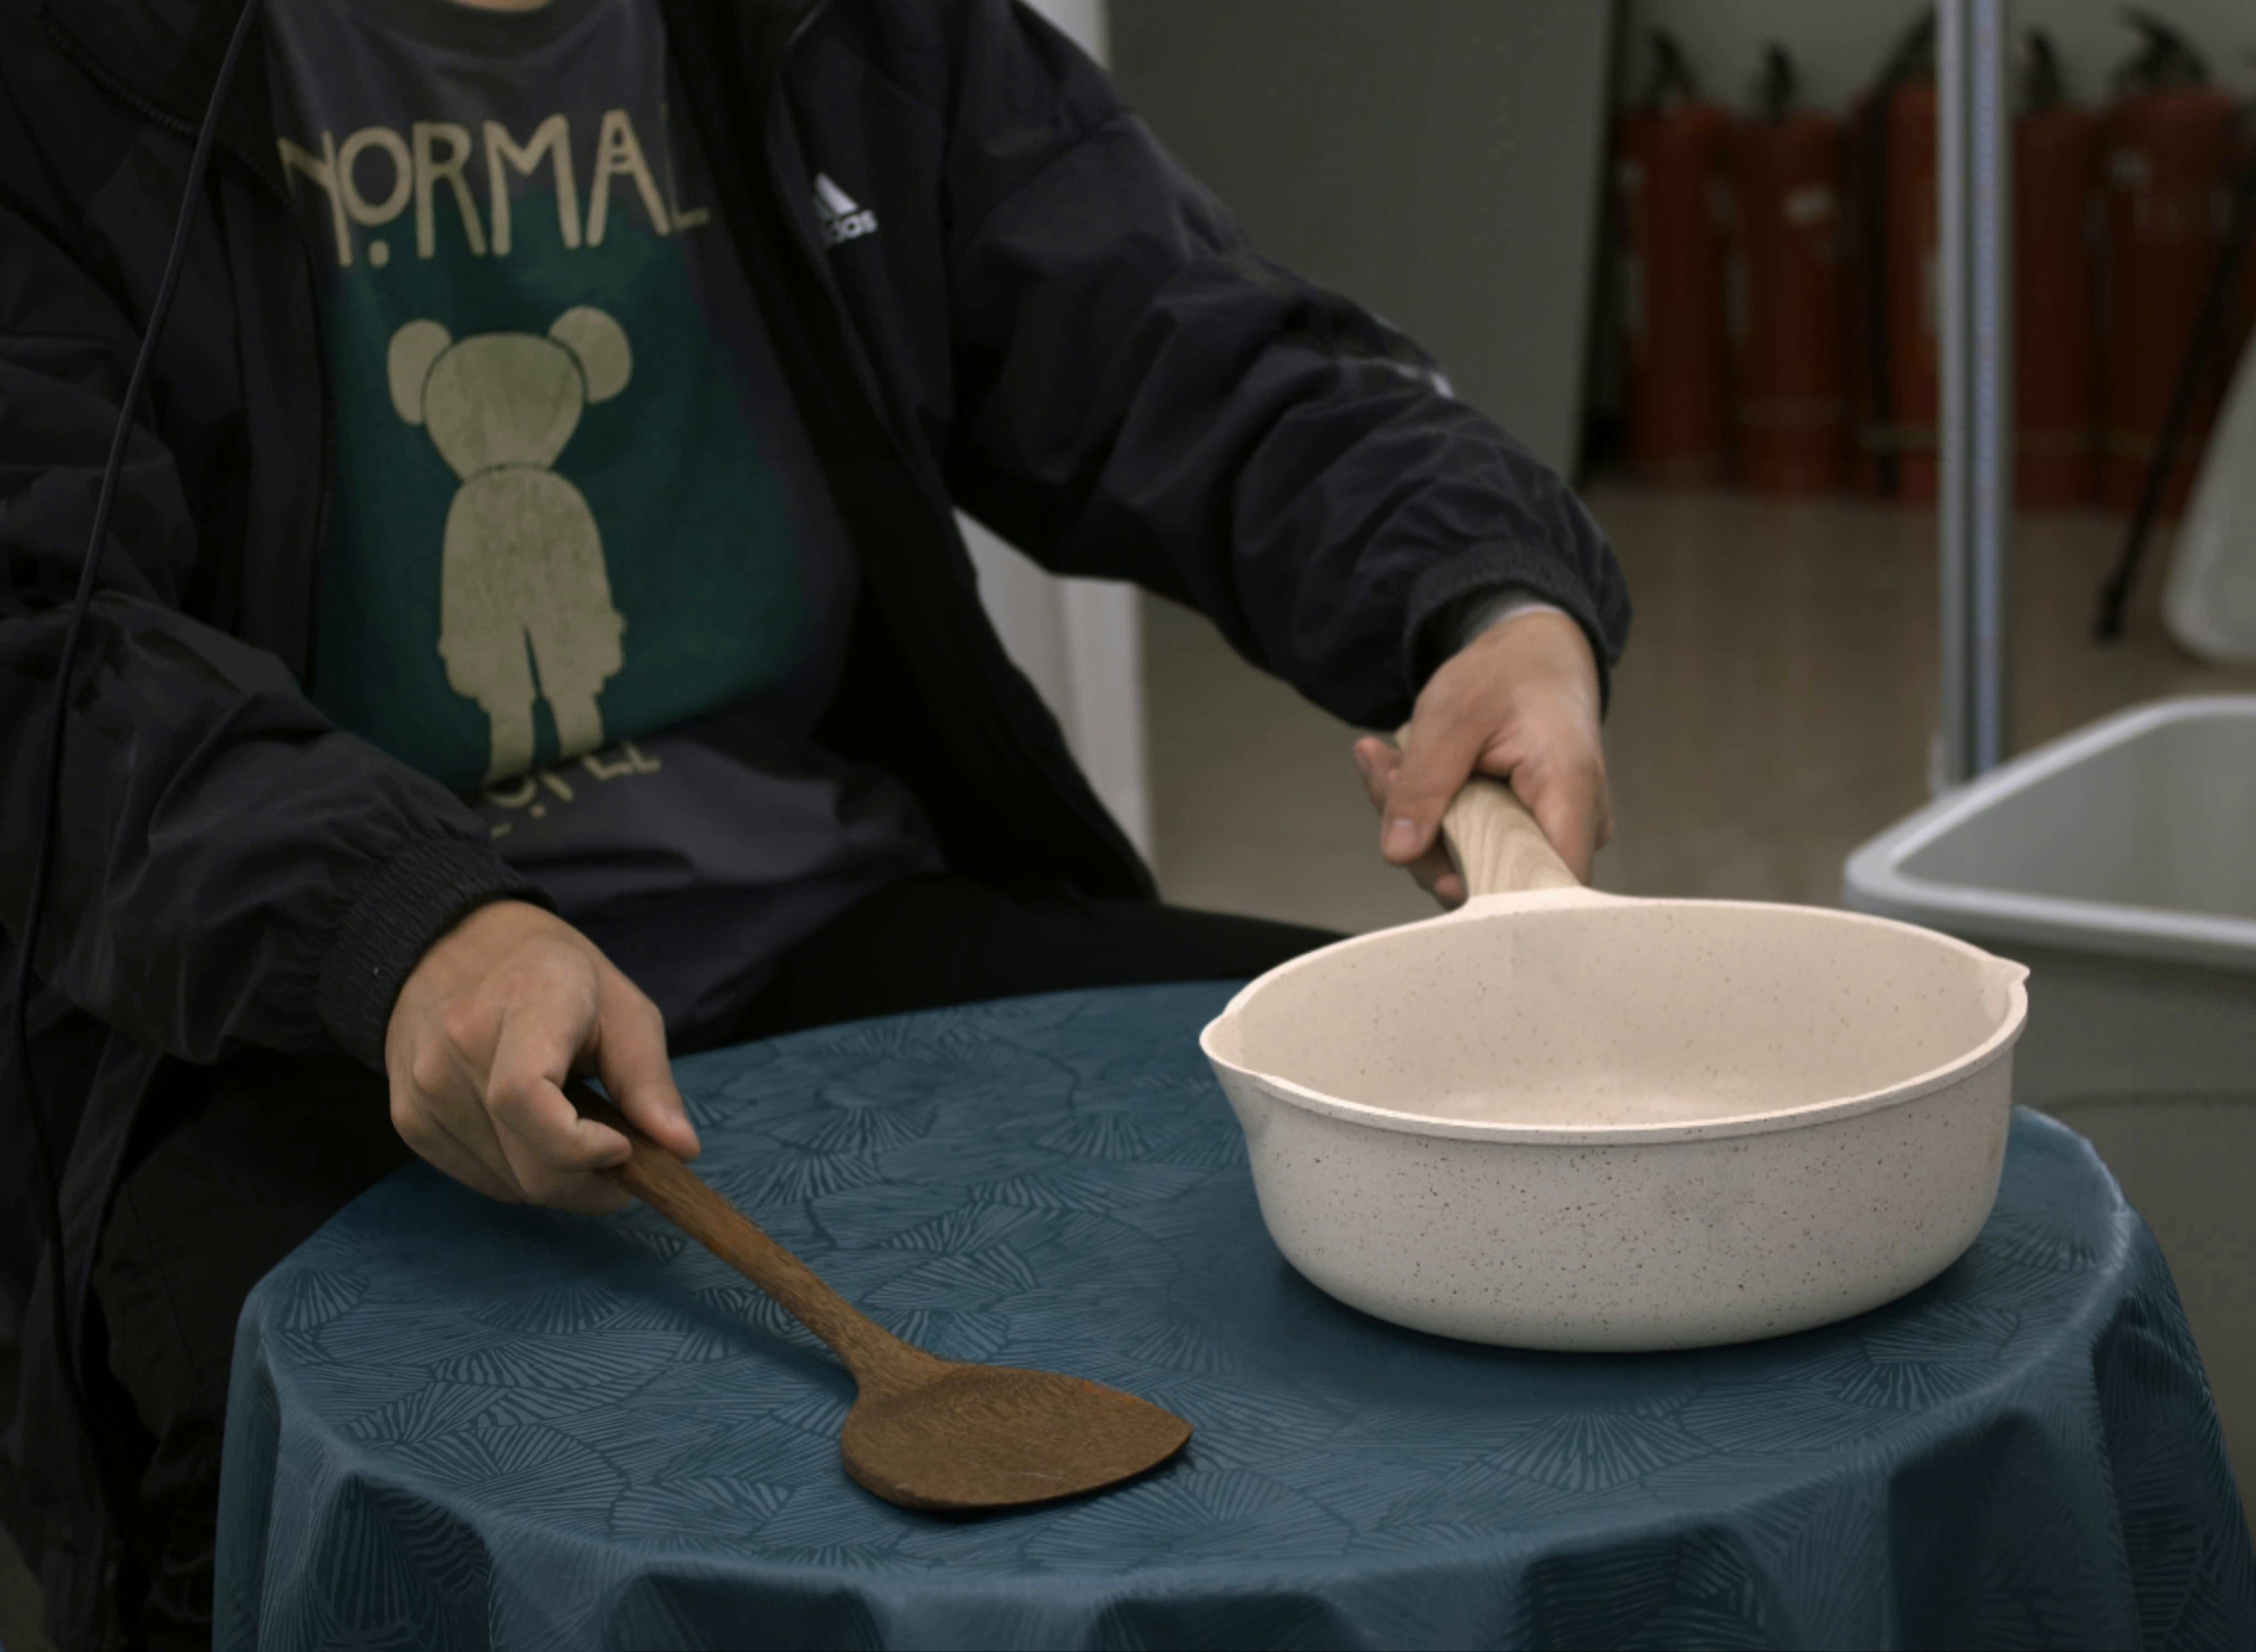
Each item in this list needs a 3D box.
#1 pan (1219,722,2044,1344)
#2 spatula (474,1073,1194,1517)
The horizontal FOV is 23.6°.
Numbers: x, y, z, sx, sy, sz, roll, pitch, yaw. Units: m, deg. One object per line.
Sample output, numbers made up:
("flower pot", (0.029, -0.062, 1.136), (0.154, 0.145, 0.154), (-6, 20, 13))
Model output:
("pan", (0.147, 0.062, 1.756), (0.259, 0.103, 0.437), (-8, 14, -6))
("spatula", (-0.112, 0.136, 1.659), (0.094, 0.016, 0.390), (-13, 22, -29))
